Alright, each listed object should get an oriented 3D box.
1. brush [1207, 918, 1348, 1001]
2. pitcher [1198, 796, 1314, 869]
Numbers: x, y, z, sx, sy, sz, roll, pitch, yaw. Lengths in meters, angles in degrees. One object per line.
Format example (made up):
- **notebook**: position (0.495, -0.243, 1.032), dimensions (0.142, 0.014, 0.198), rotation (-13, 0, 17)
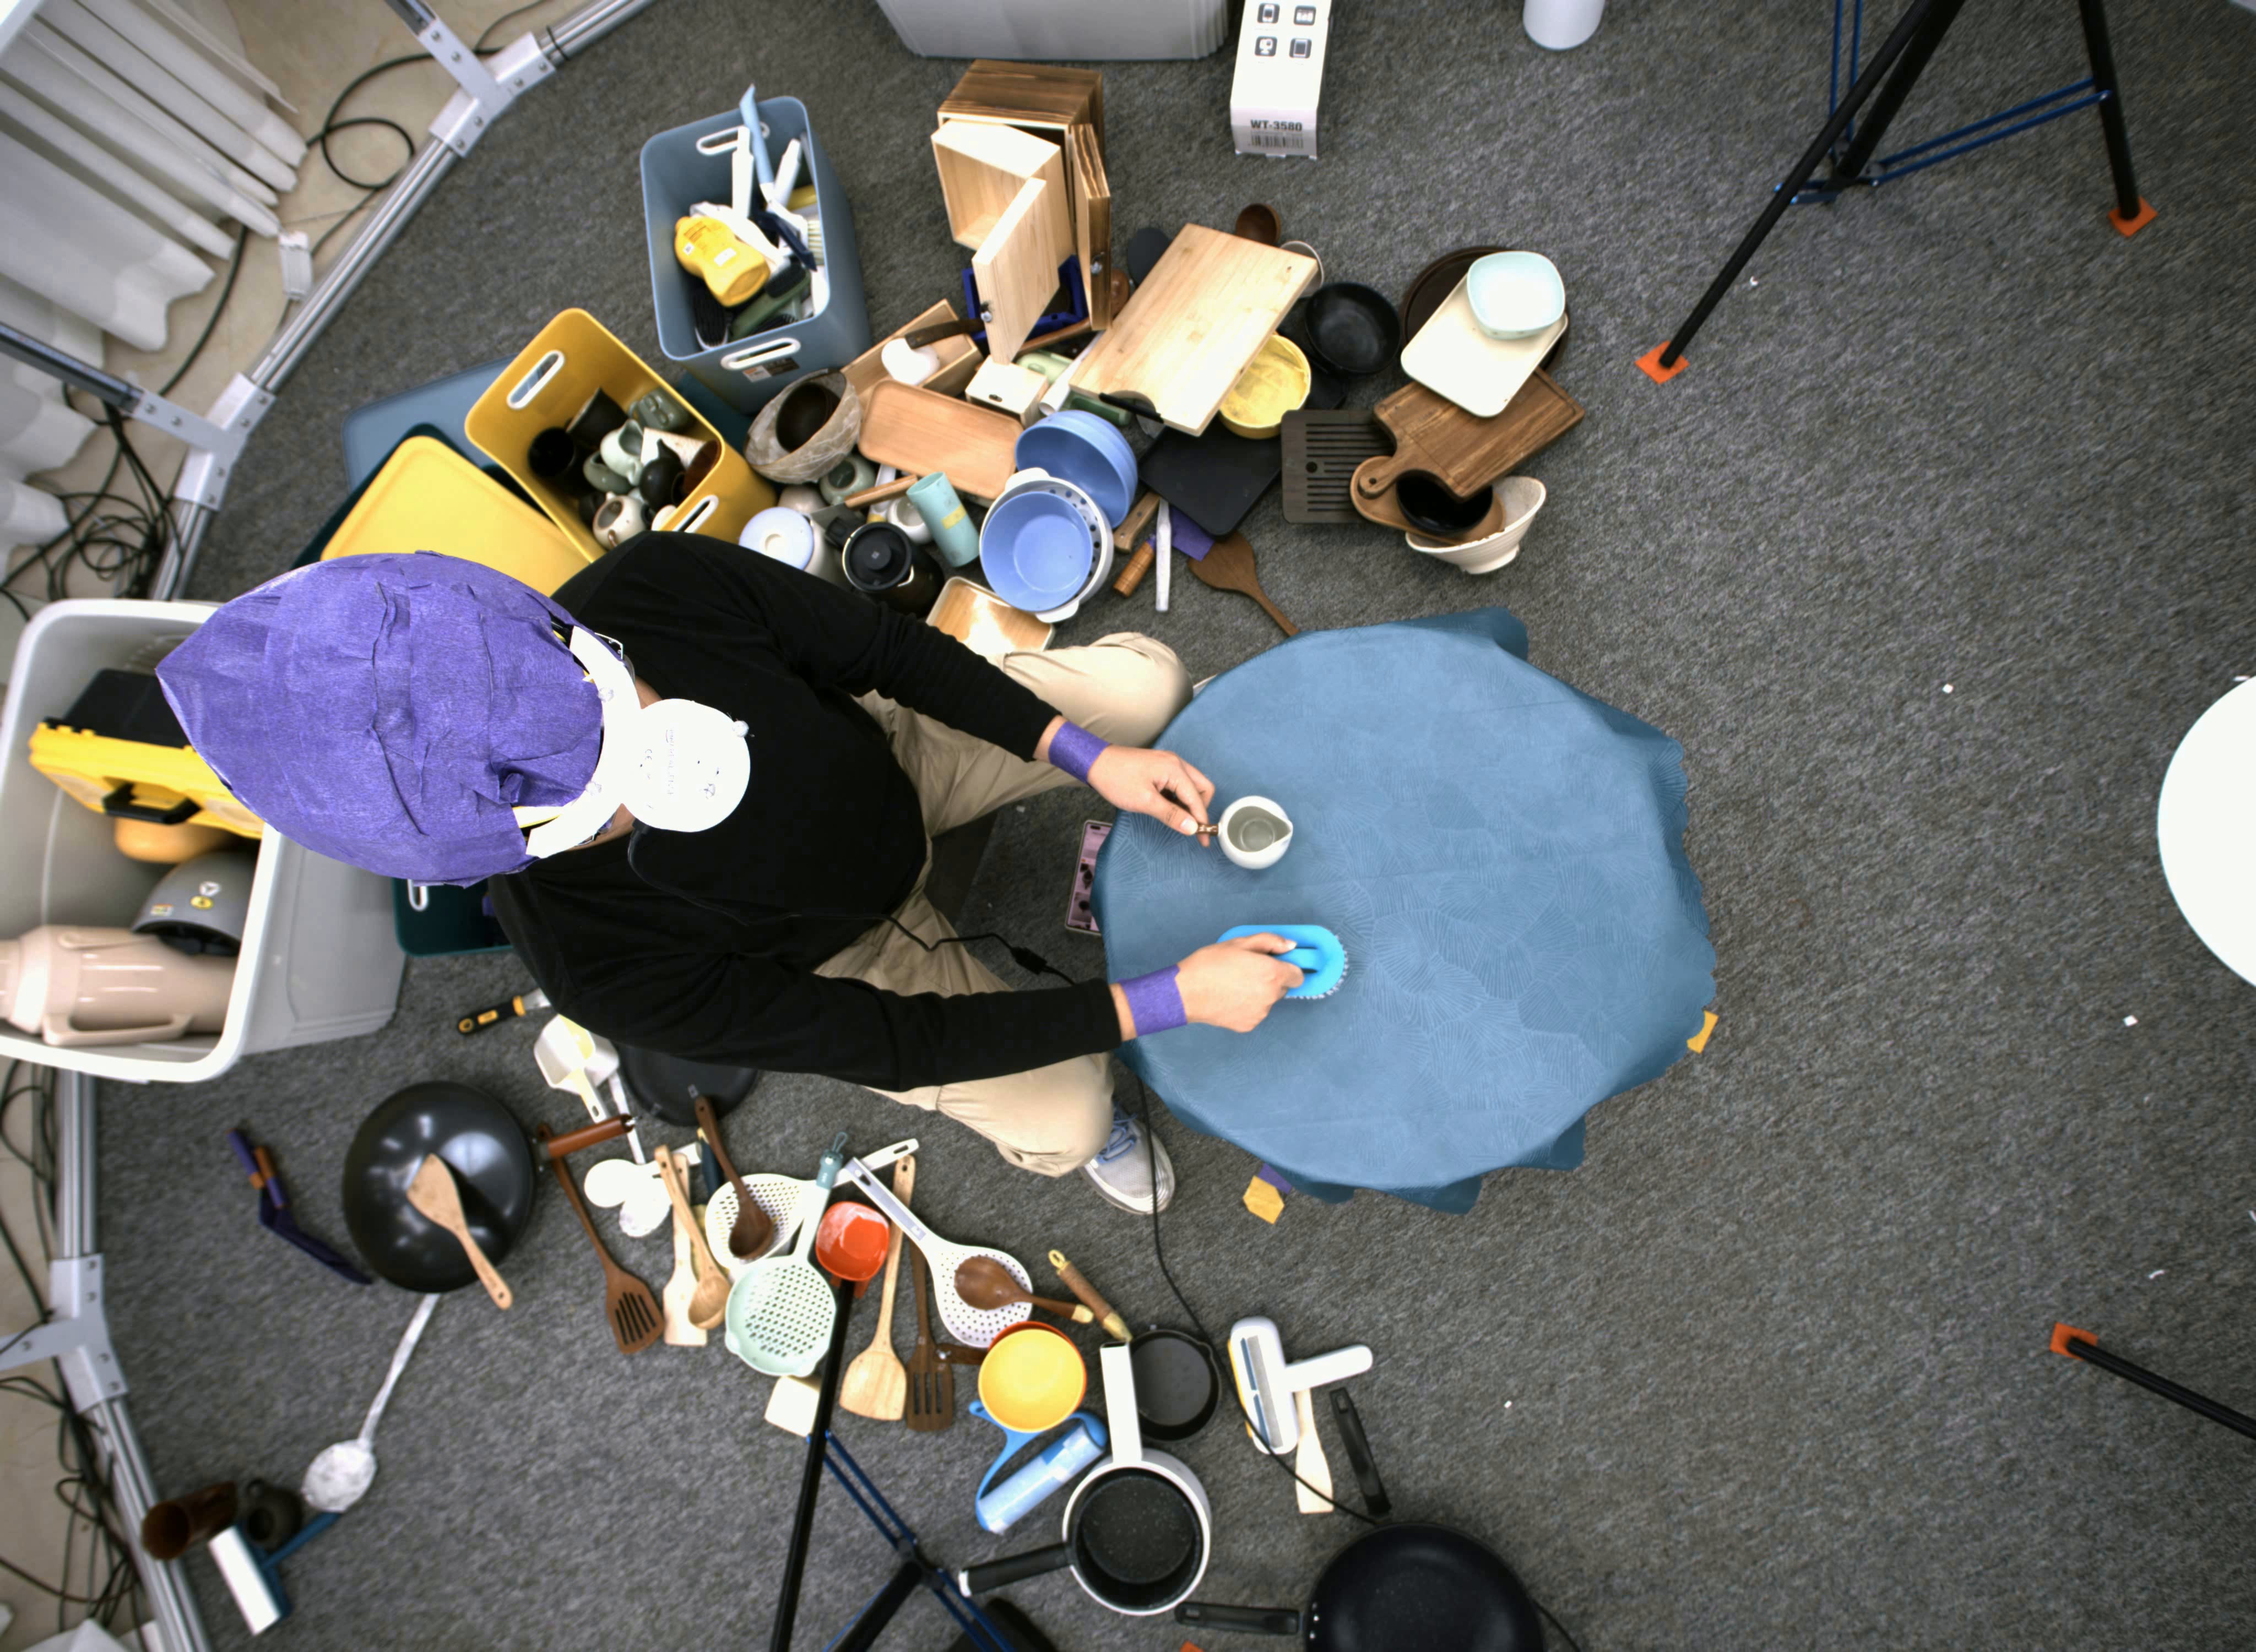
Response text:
- **brush**: position (0.150, 0.134, 1.415), dimensions (0.142, 0.063, 0.084), rotation (1, 88, 16)
- **pitcher**: position (0.133, 0.007, 1.443), dimensions (0.119, 0.088, 0.075), rotation (6, 80, 7)
